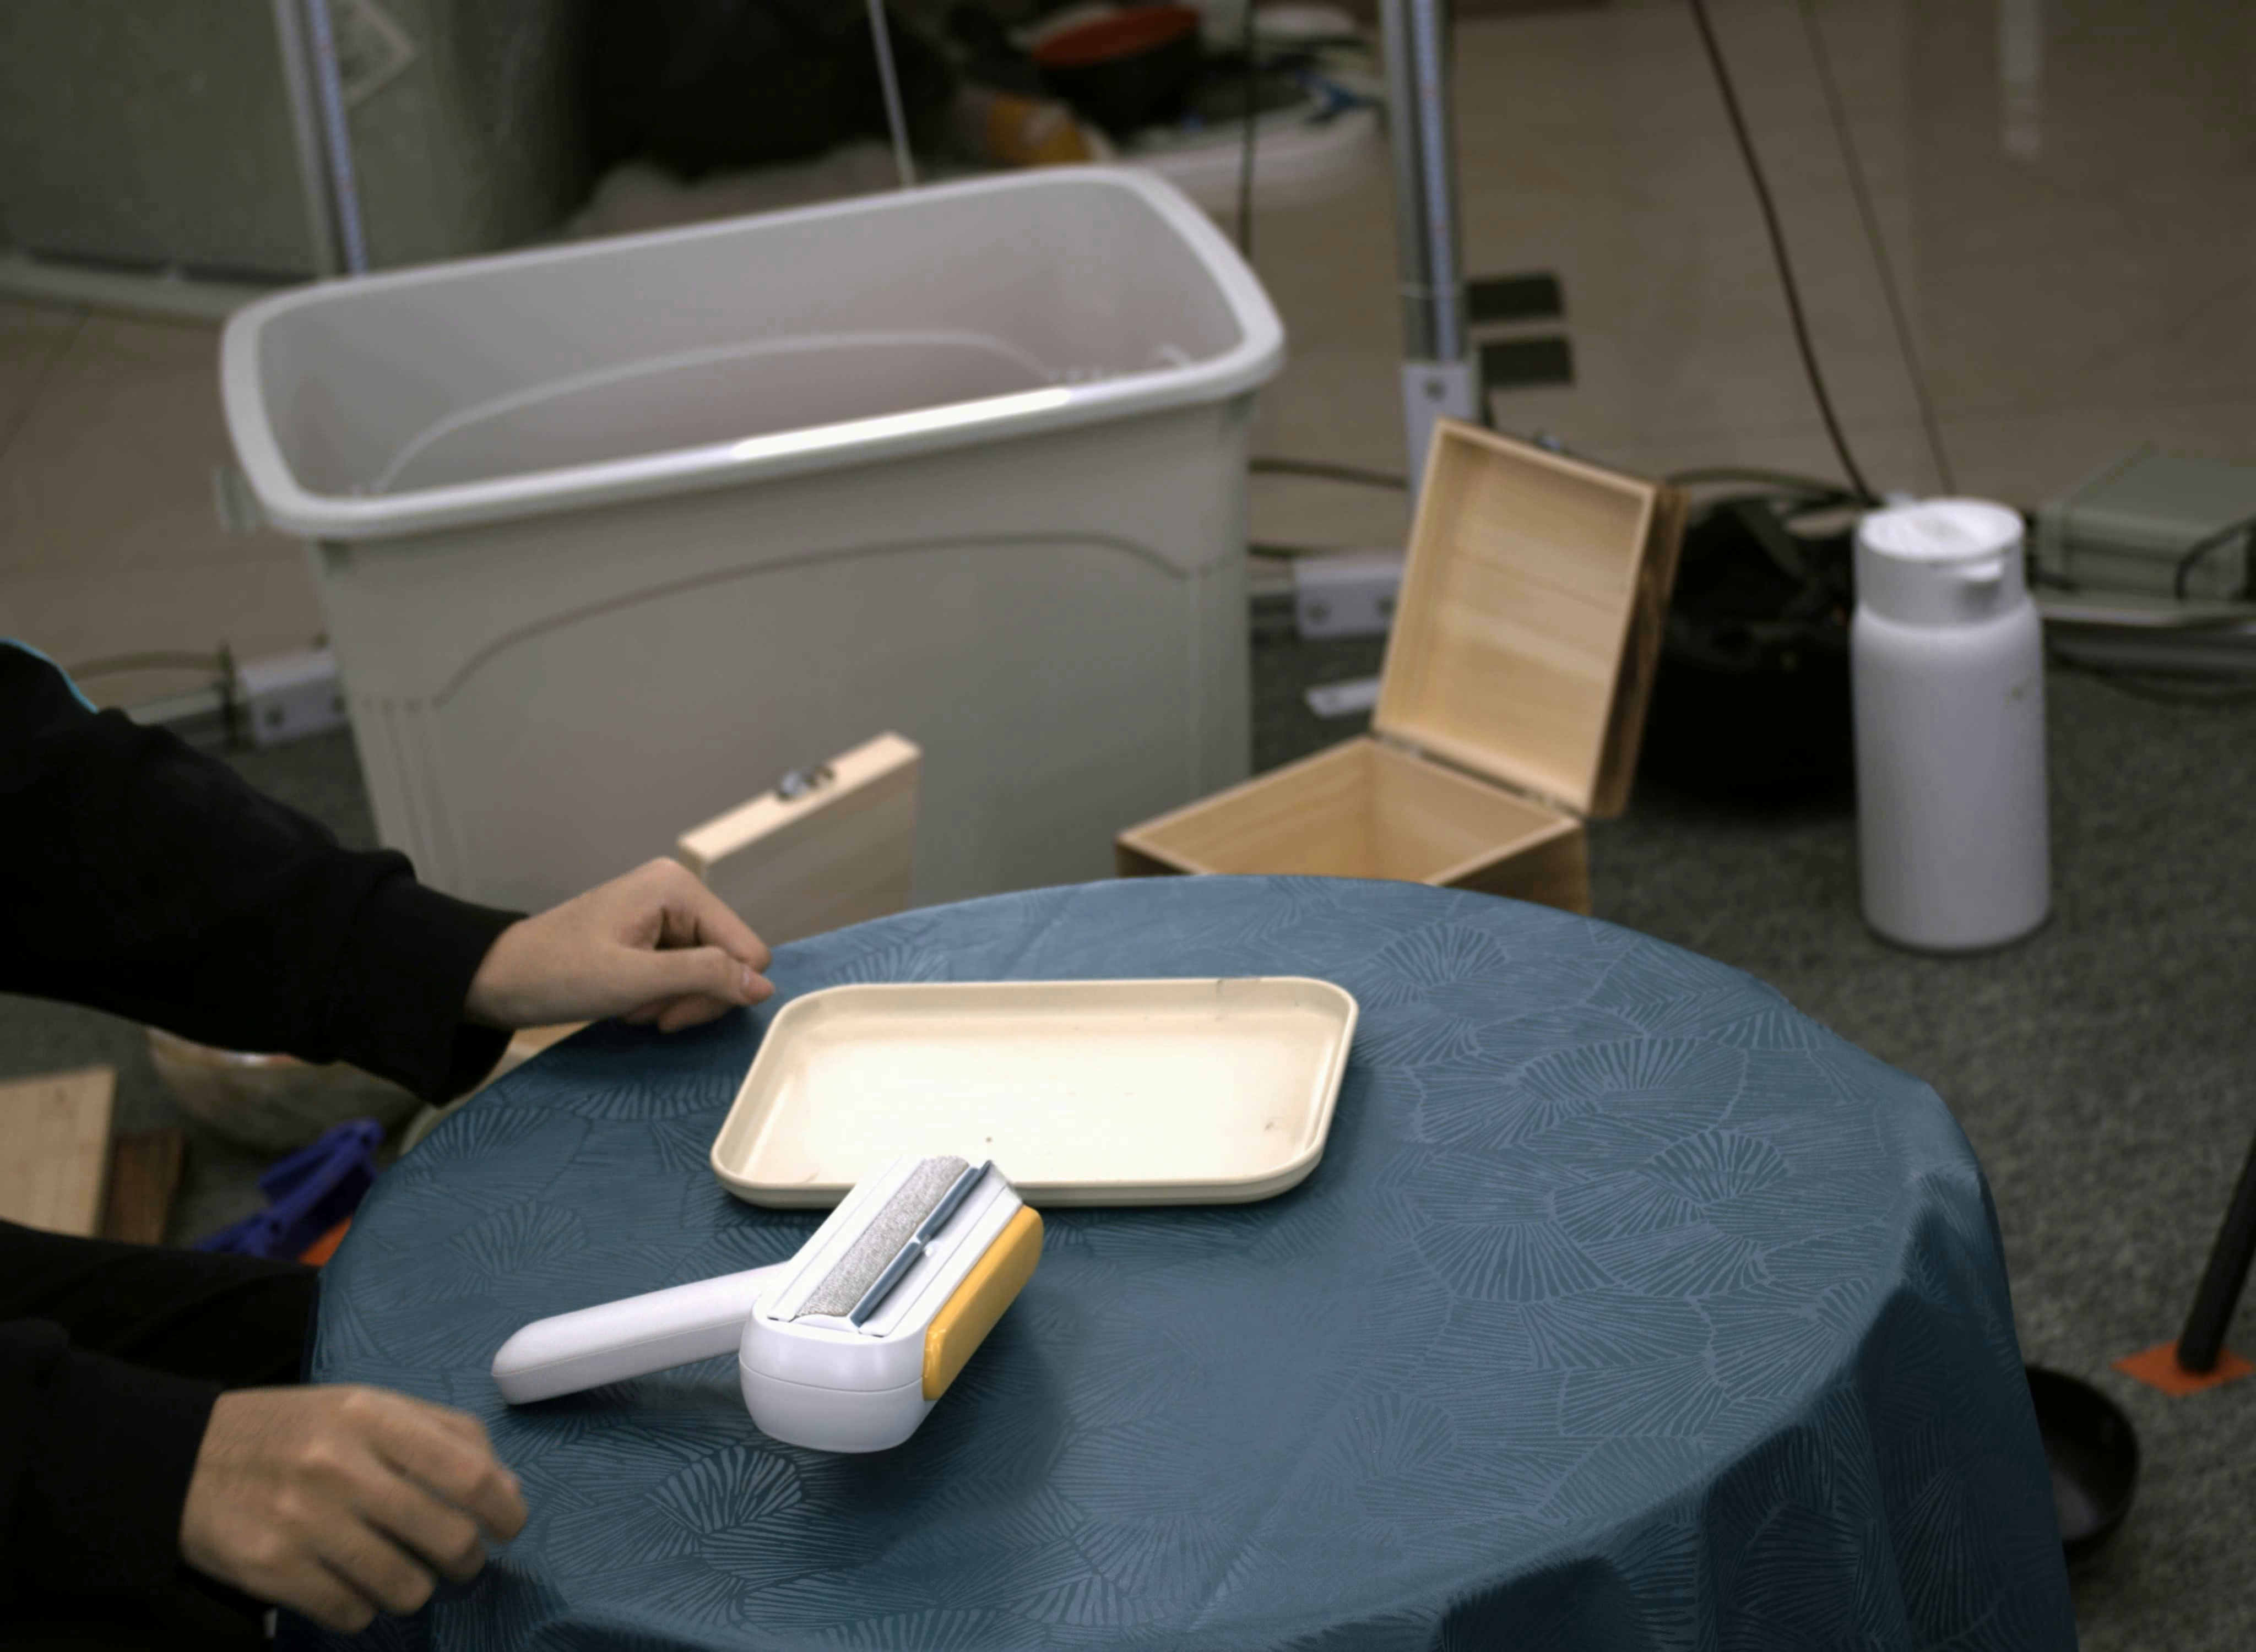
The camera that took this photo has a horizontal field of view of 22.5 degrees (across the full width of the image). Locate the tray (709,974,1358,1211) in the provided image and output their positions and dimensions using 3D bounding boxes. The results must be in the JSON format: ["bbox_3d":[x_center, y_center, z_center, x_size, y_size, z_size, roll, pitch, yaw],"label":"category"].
[{"bbox_3d":[-0.035,0.105,2.205,0.239,0.018,0.169,-1,26,11],"label":"tray"}]

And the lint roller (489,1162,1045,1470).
[{"bbox_3d":[-0.140,0.176,2.019,0.192,0.075,0.190,0,21,18],"label":"lint roller"}]
